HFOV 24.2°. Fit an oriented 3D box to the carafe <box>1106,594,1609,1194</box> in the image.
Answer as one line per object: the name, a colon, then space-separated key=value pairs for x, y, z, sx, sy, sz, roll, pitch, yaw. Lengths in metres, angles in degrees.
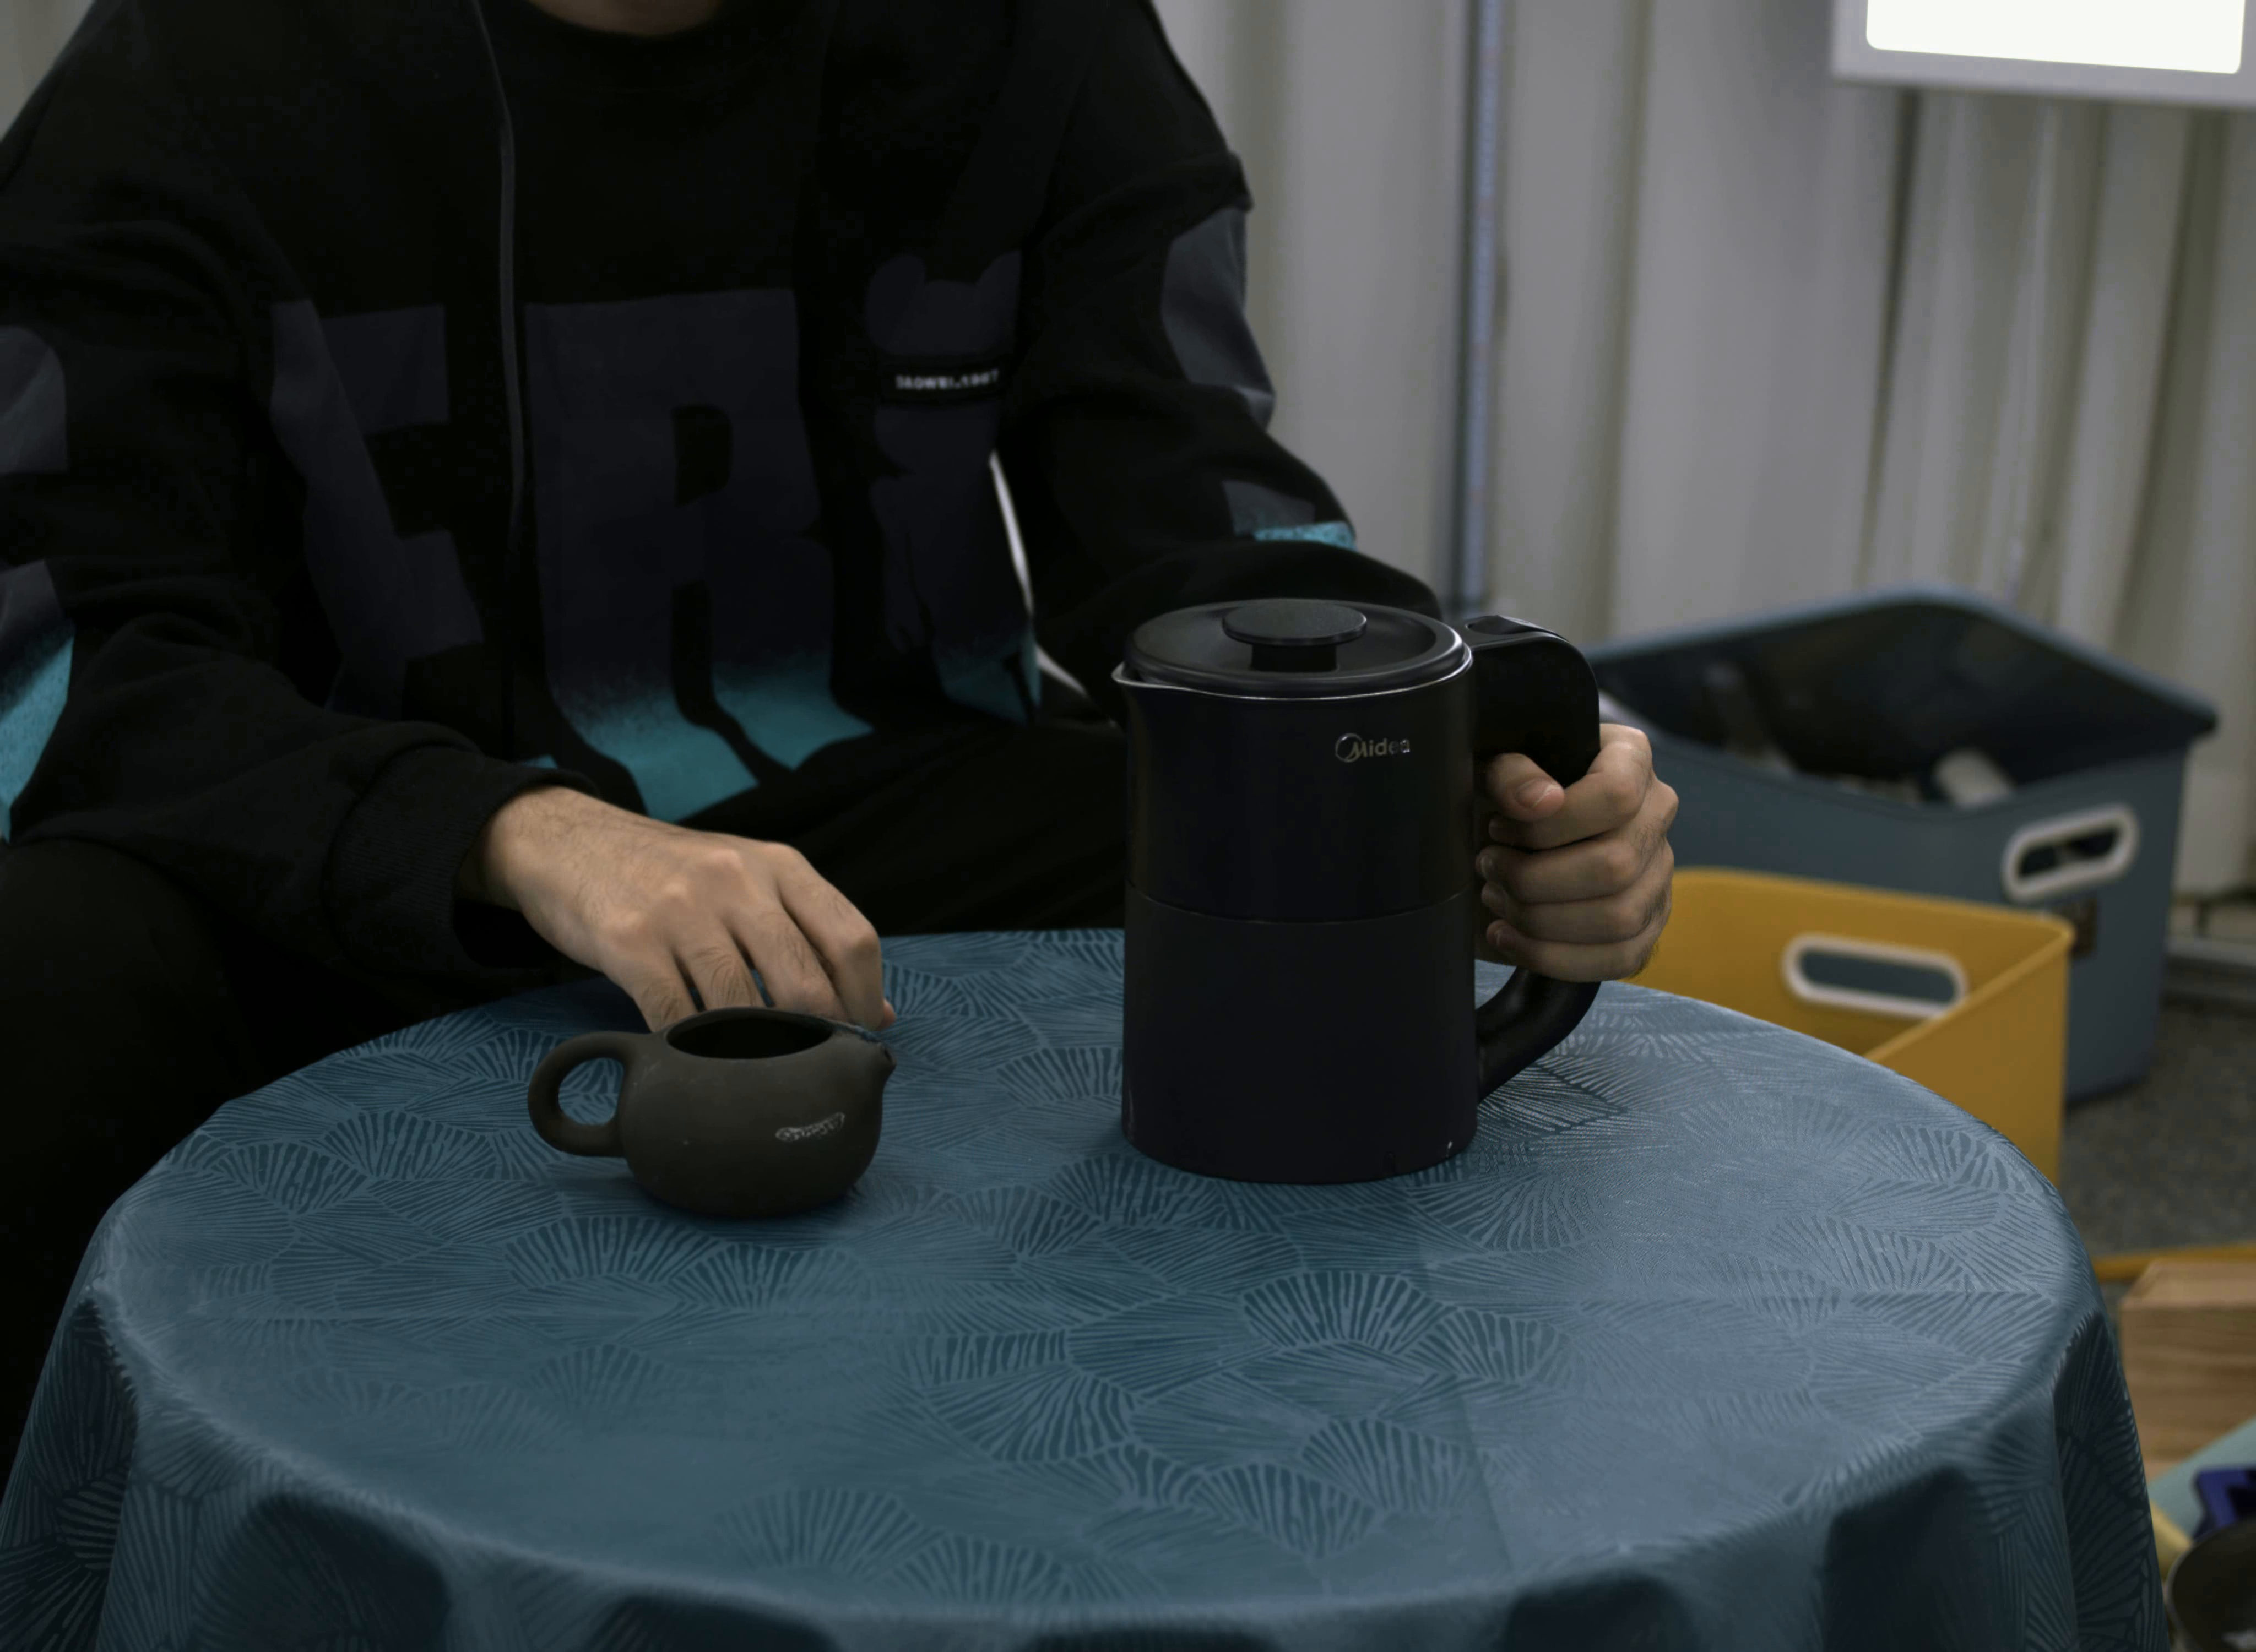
carafe: x=0.073 y=0.012 z=1.664 sx=0.172 sy=0.175 sz=0.113 roll=-11 pitch=18 yaw=-28

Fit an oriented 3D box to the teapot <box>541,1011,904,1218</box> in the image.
teapot: x=-0.125 y=0.087 z=1.615 sx=0.113 sy=0.053 sz=0.083 roll=6 pitch=15 yaw=10
